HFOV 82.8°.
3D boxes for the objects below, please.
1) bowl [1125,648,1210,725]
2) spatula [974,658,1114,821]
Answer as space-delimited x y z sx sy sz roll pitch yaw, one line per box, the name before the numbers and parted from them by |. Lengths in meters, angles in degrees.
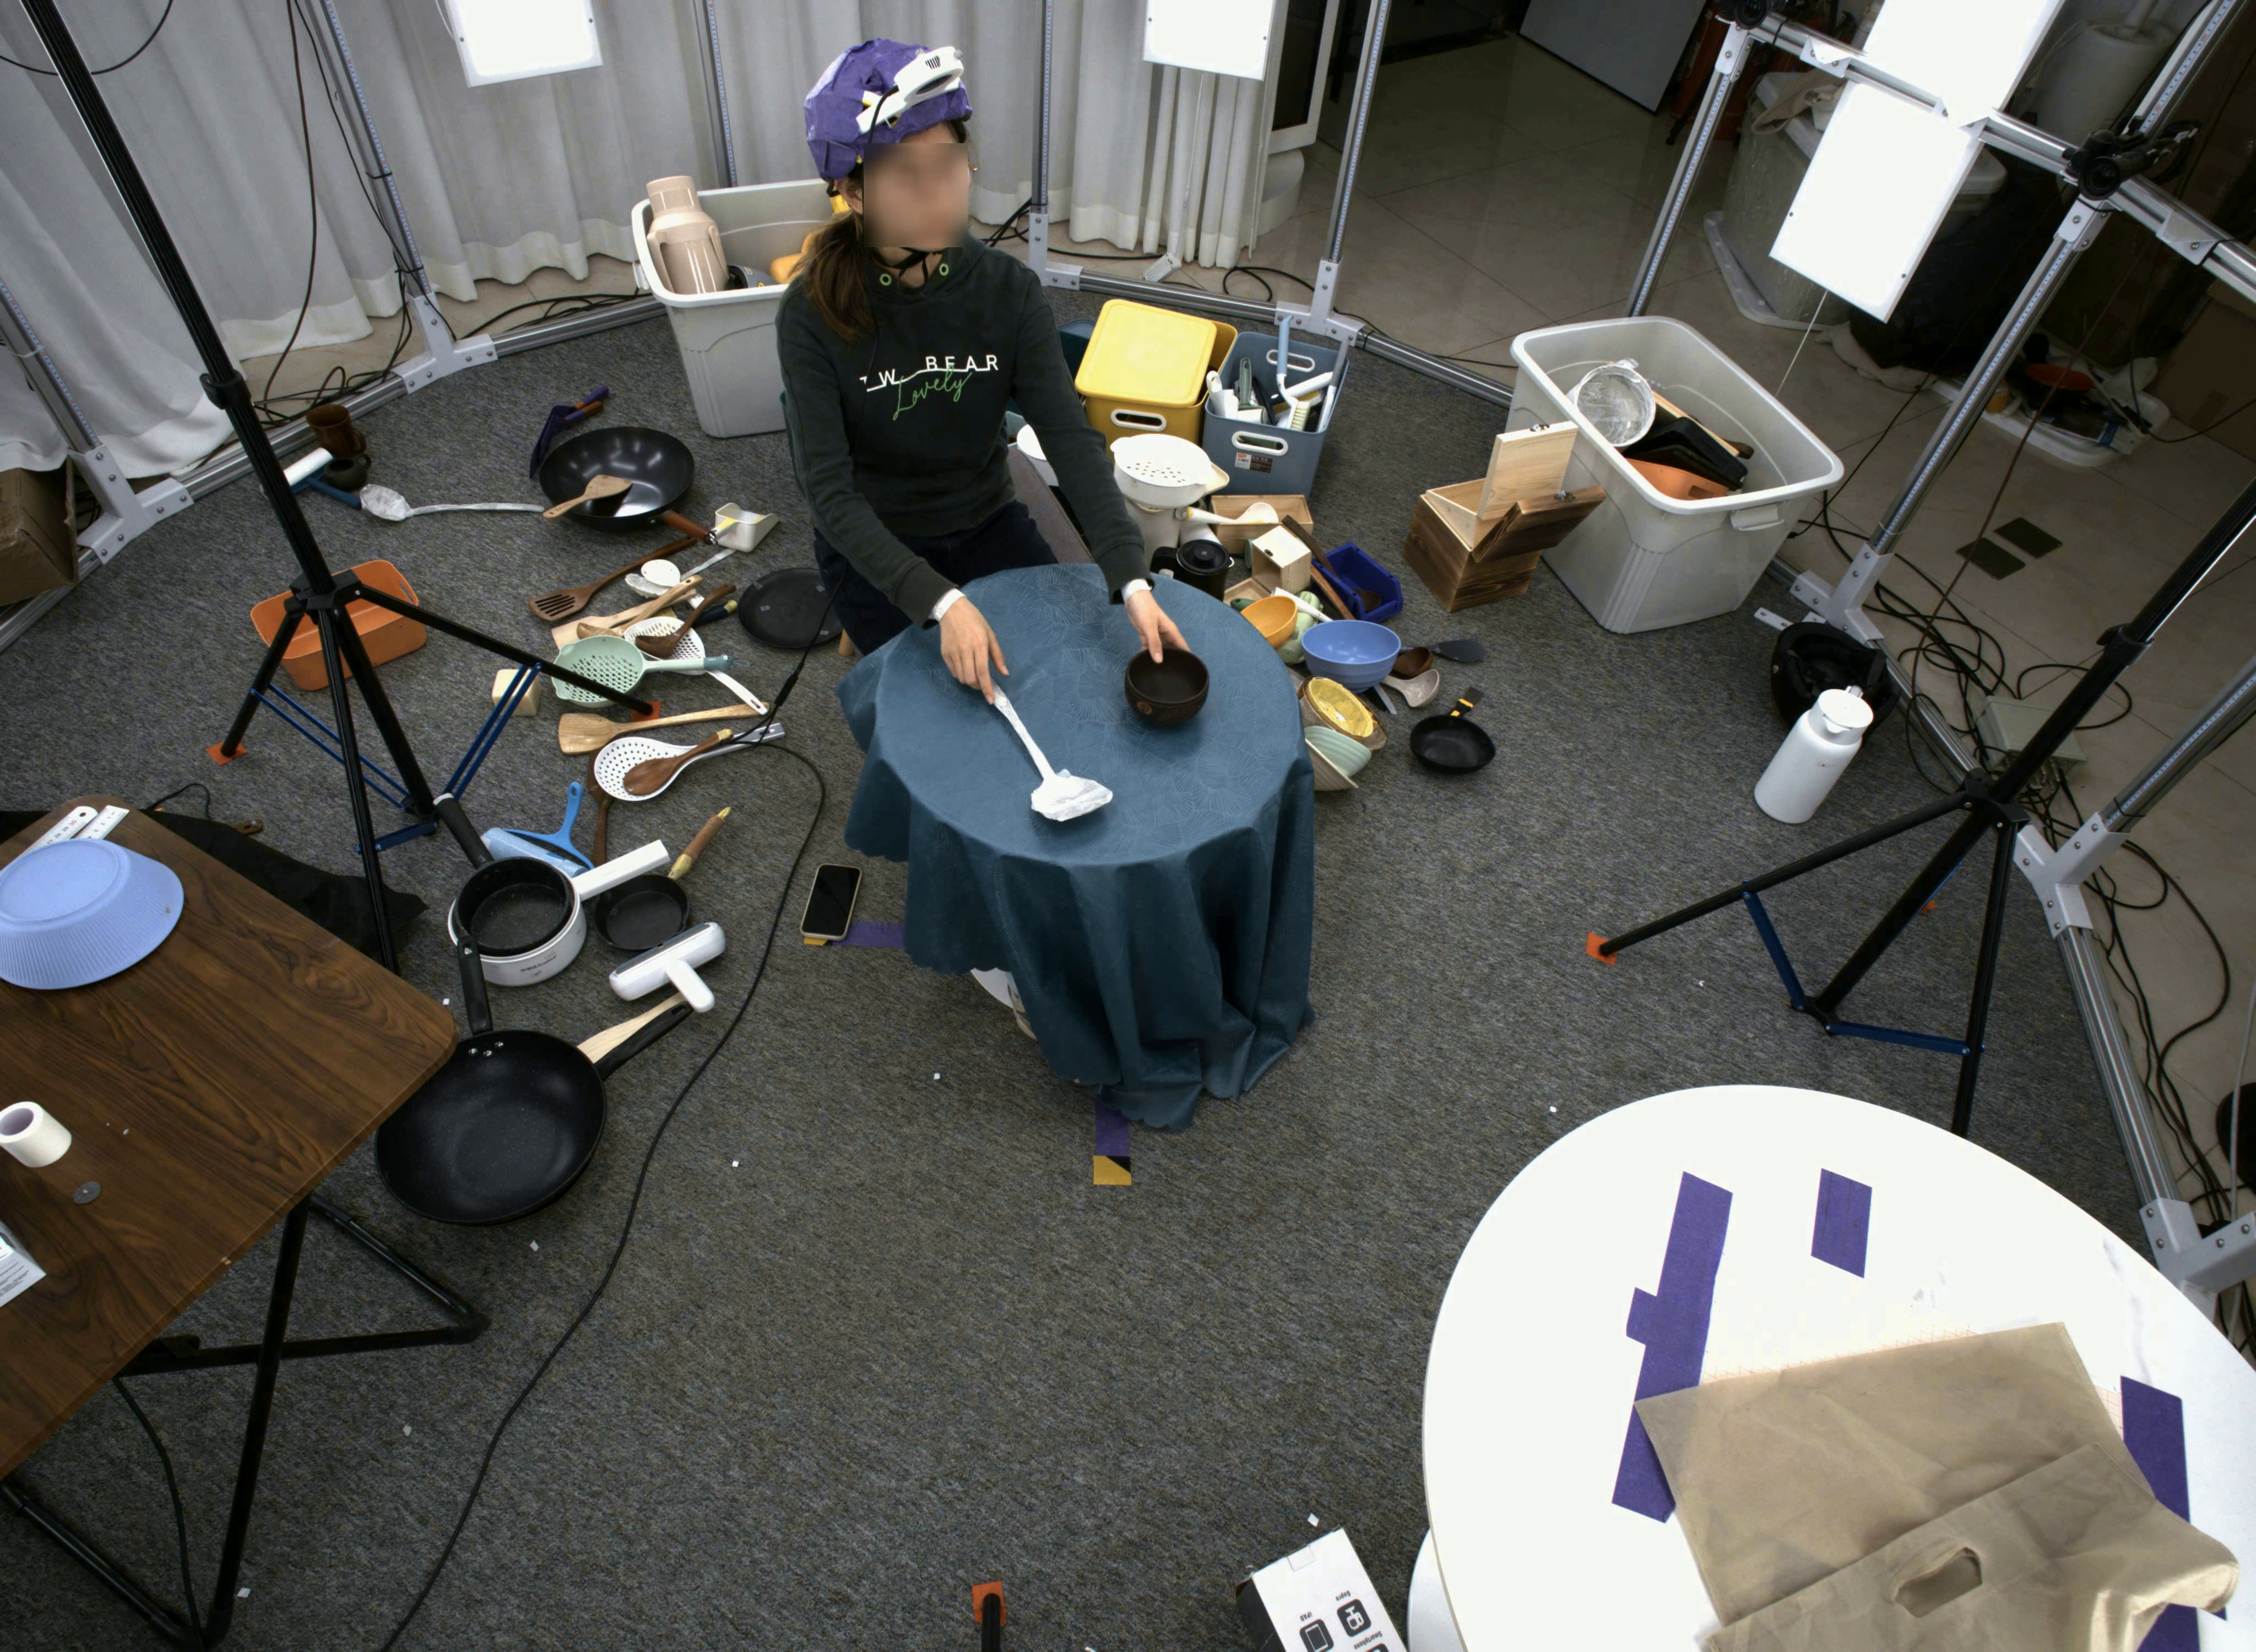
bowl | 0.054 -0.188 1.805 0.118 0.068 0.121 3 47 -3
spatula | -0.138 -0.130 1.763 0.099 0.043 0.373 -21 54 -18
